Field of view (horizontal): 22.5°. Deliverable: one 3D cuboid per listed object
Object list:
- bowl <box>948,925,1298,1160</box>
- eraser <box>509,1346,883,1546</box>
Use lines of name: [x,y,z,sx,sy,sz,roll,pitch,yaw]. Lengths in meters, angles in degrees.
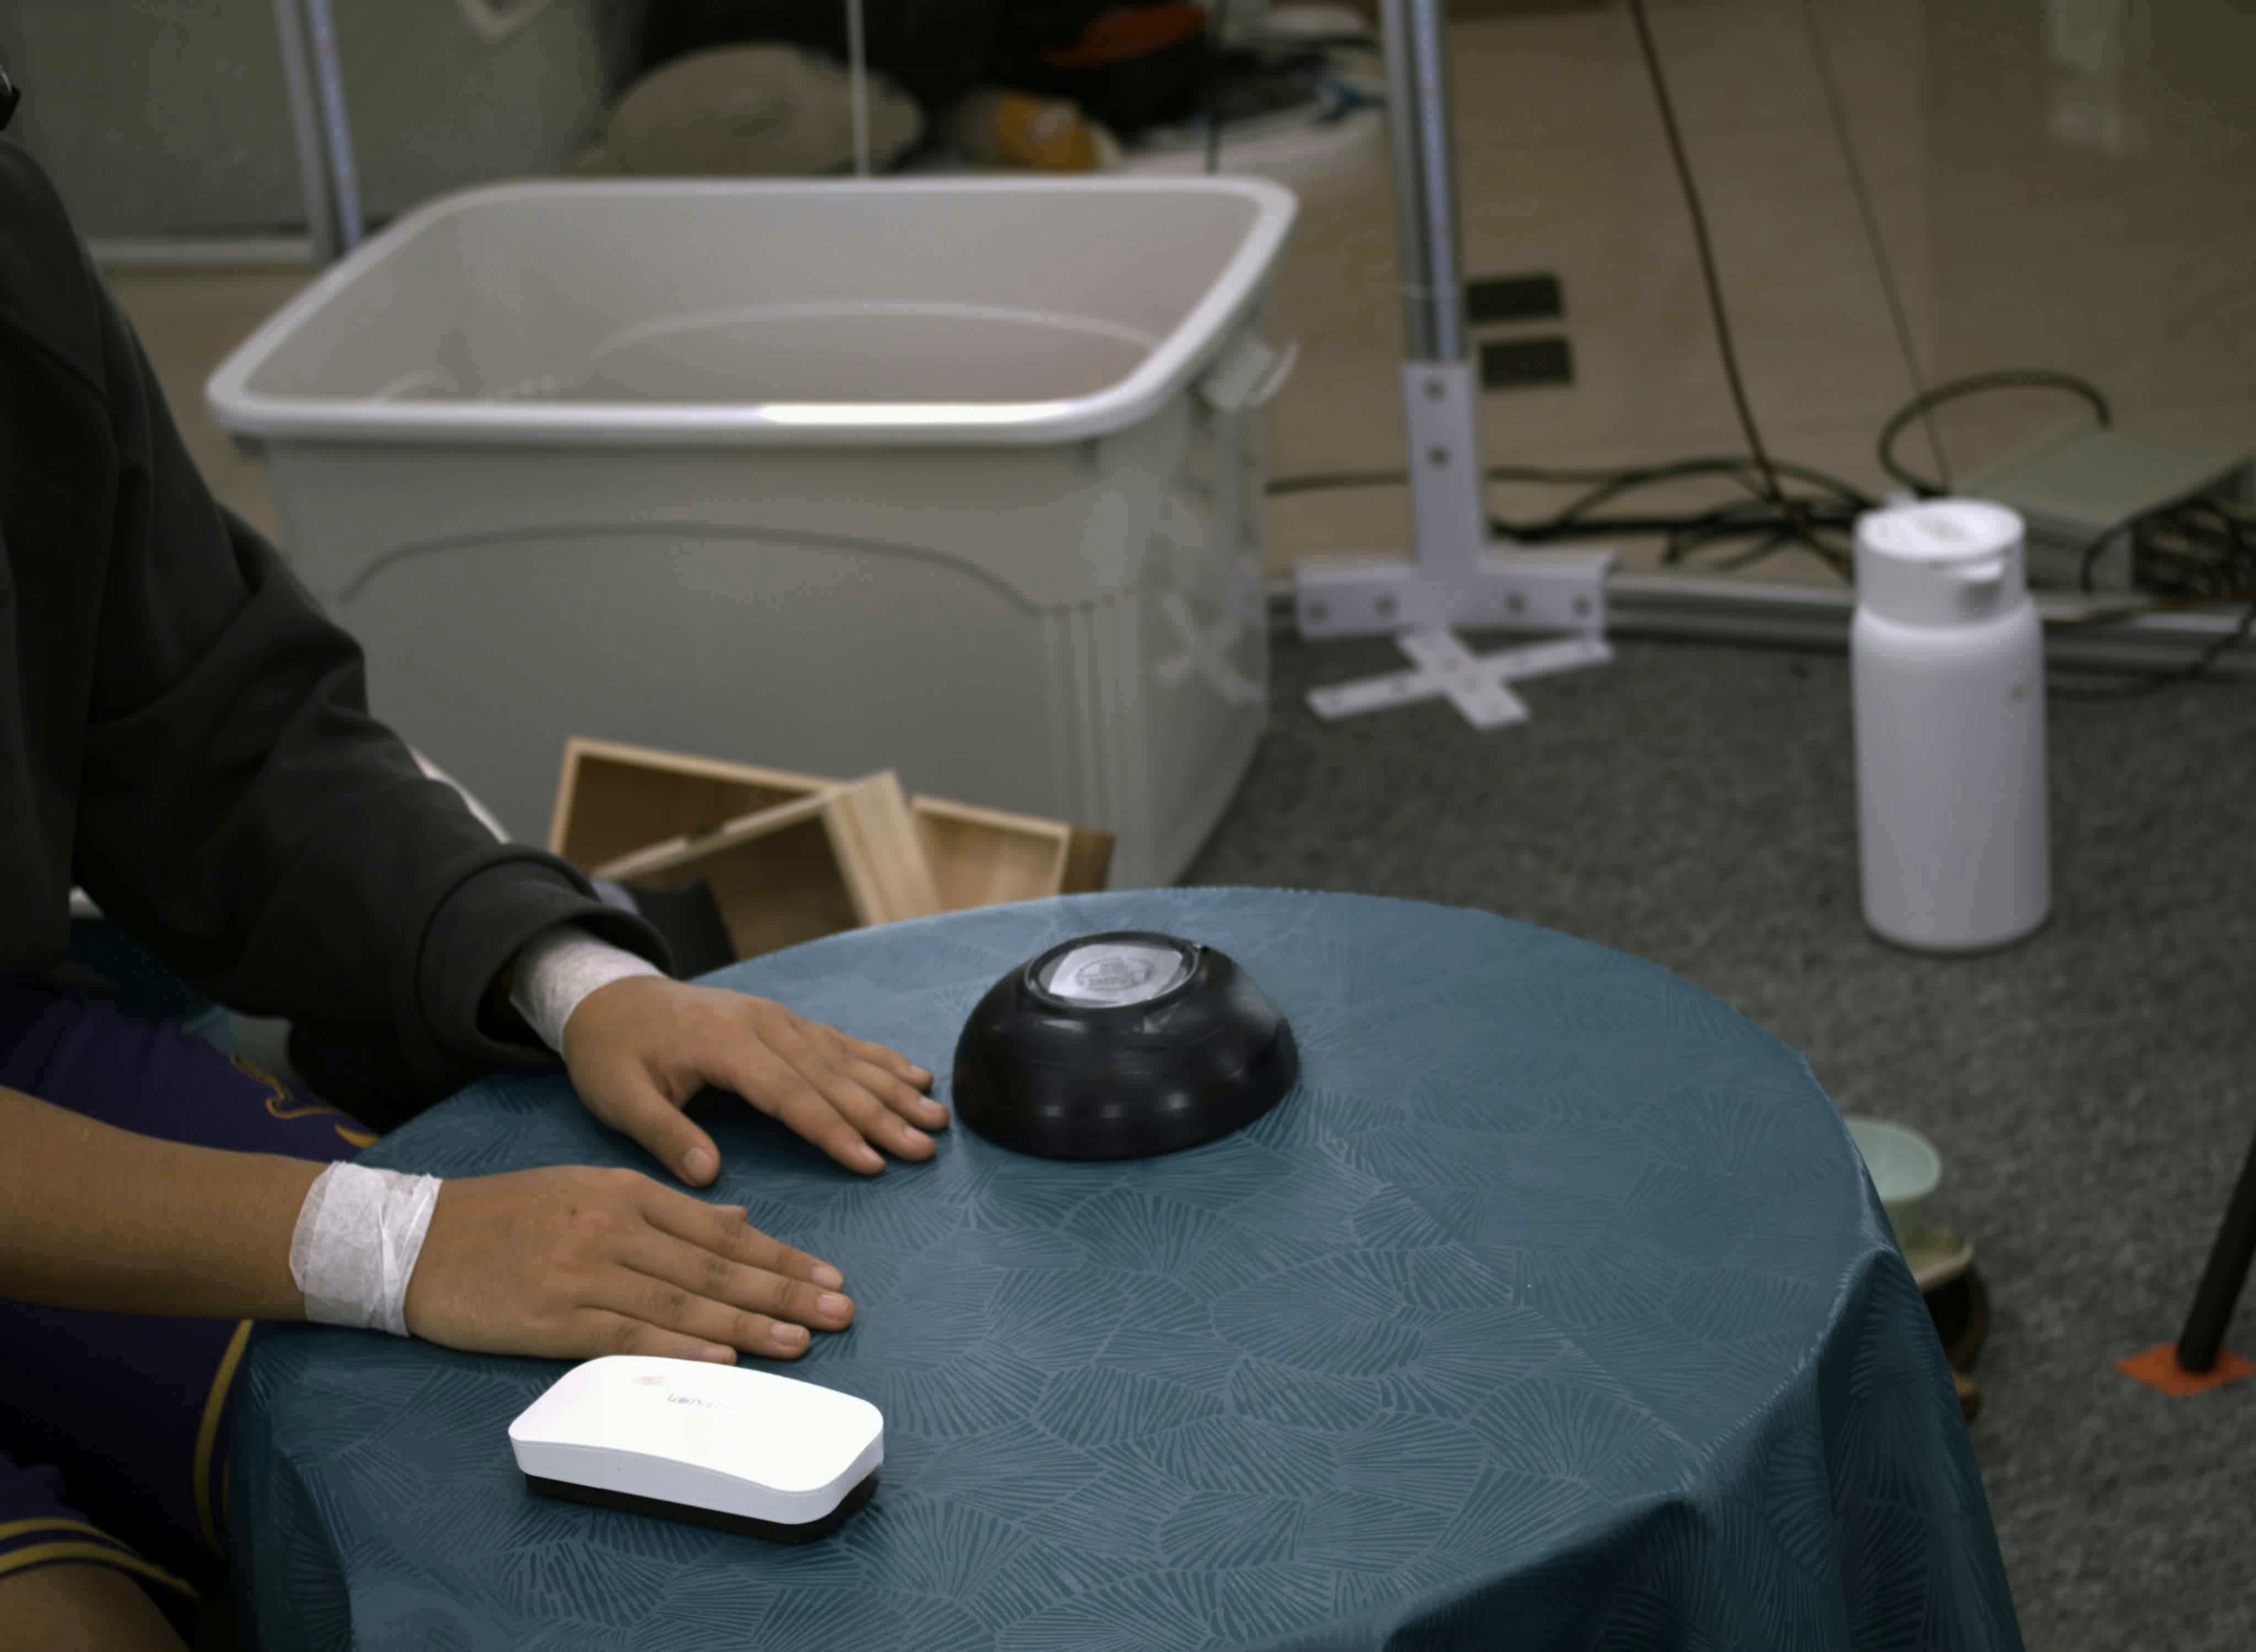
bowl: [-0.004,0.076,2.220,0.140,0.050,0.138,-5,27,2]
eraser: [-0.150,0.214,1.984,0.130,0.035,0.062,10,28,28]
